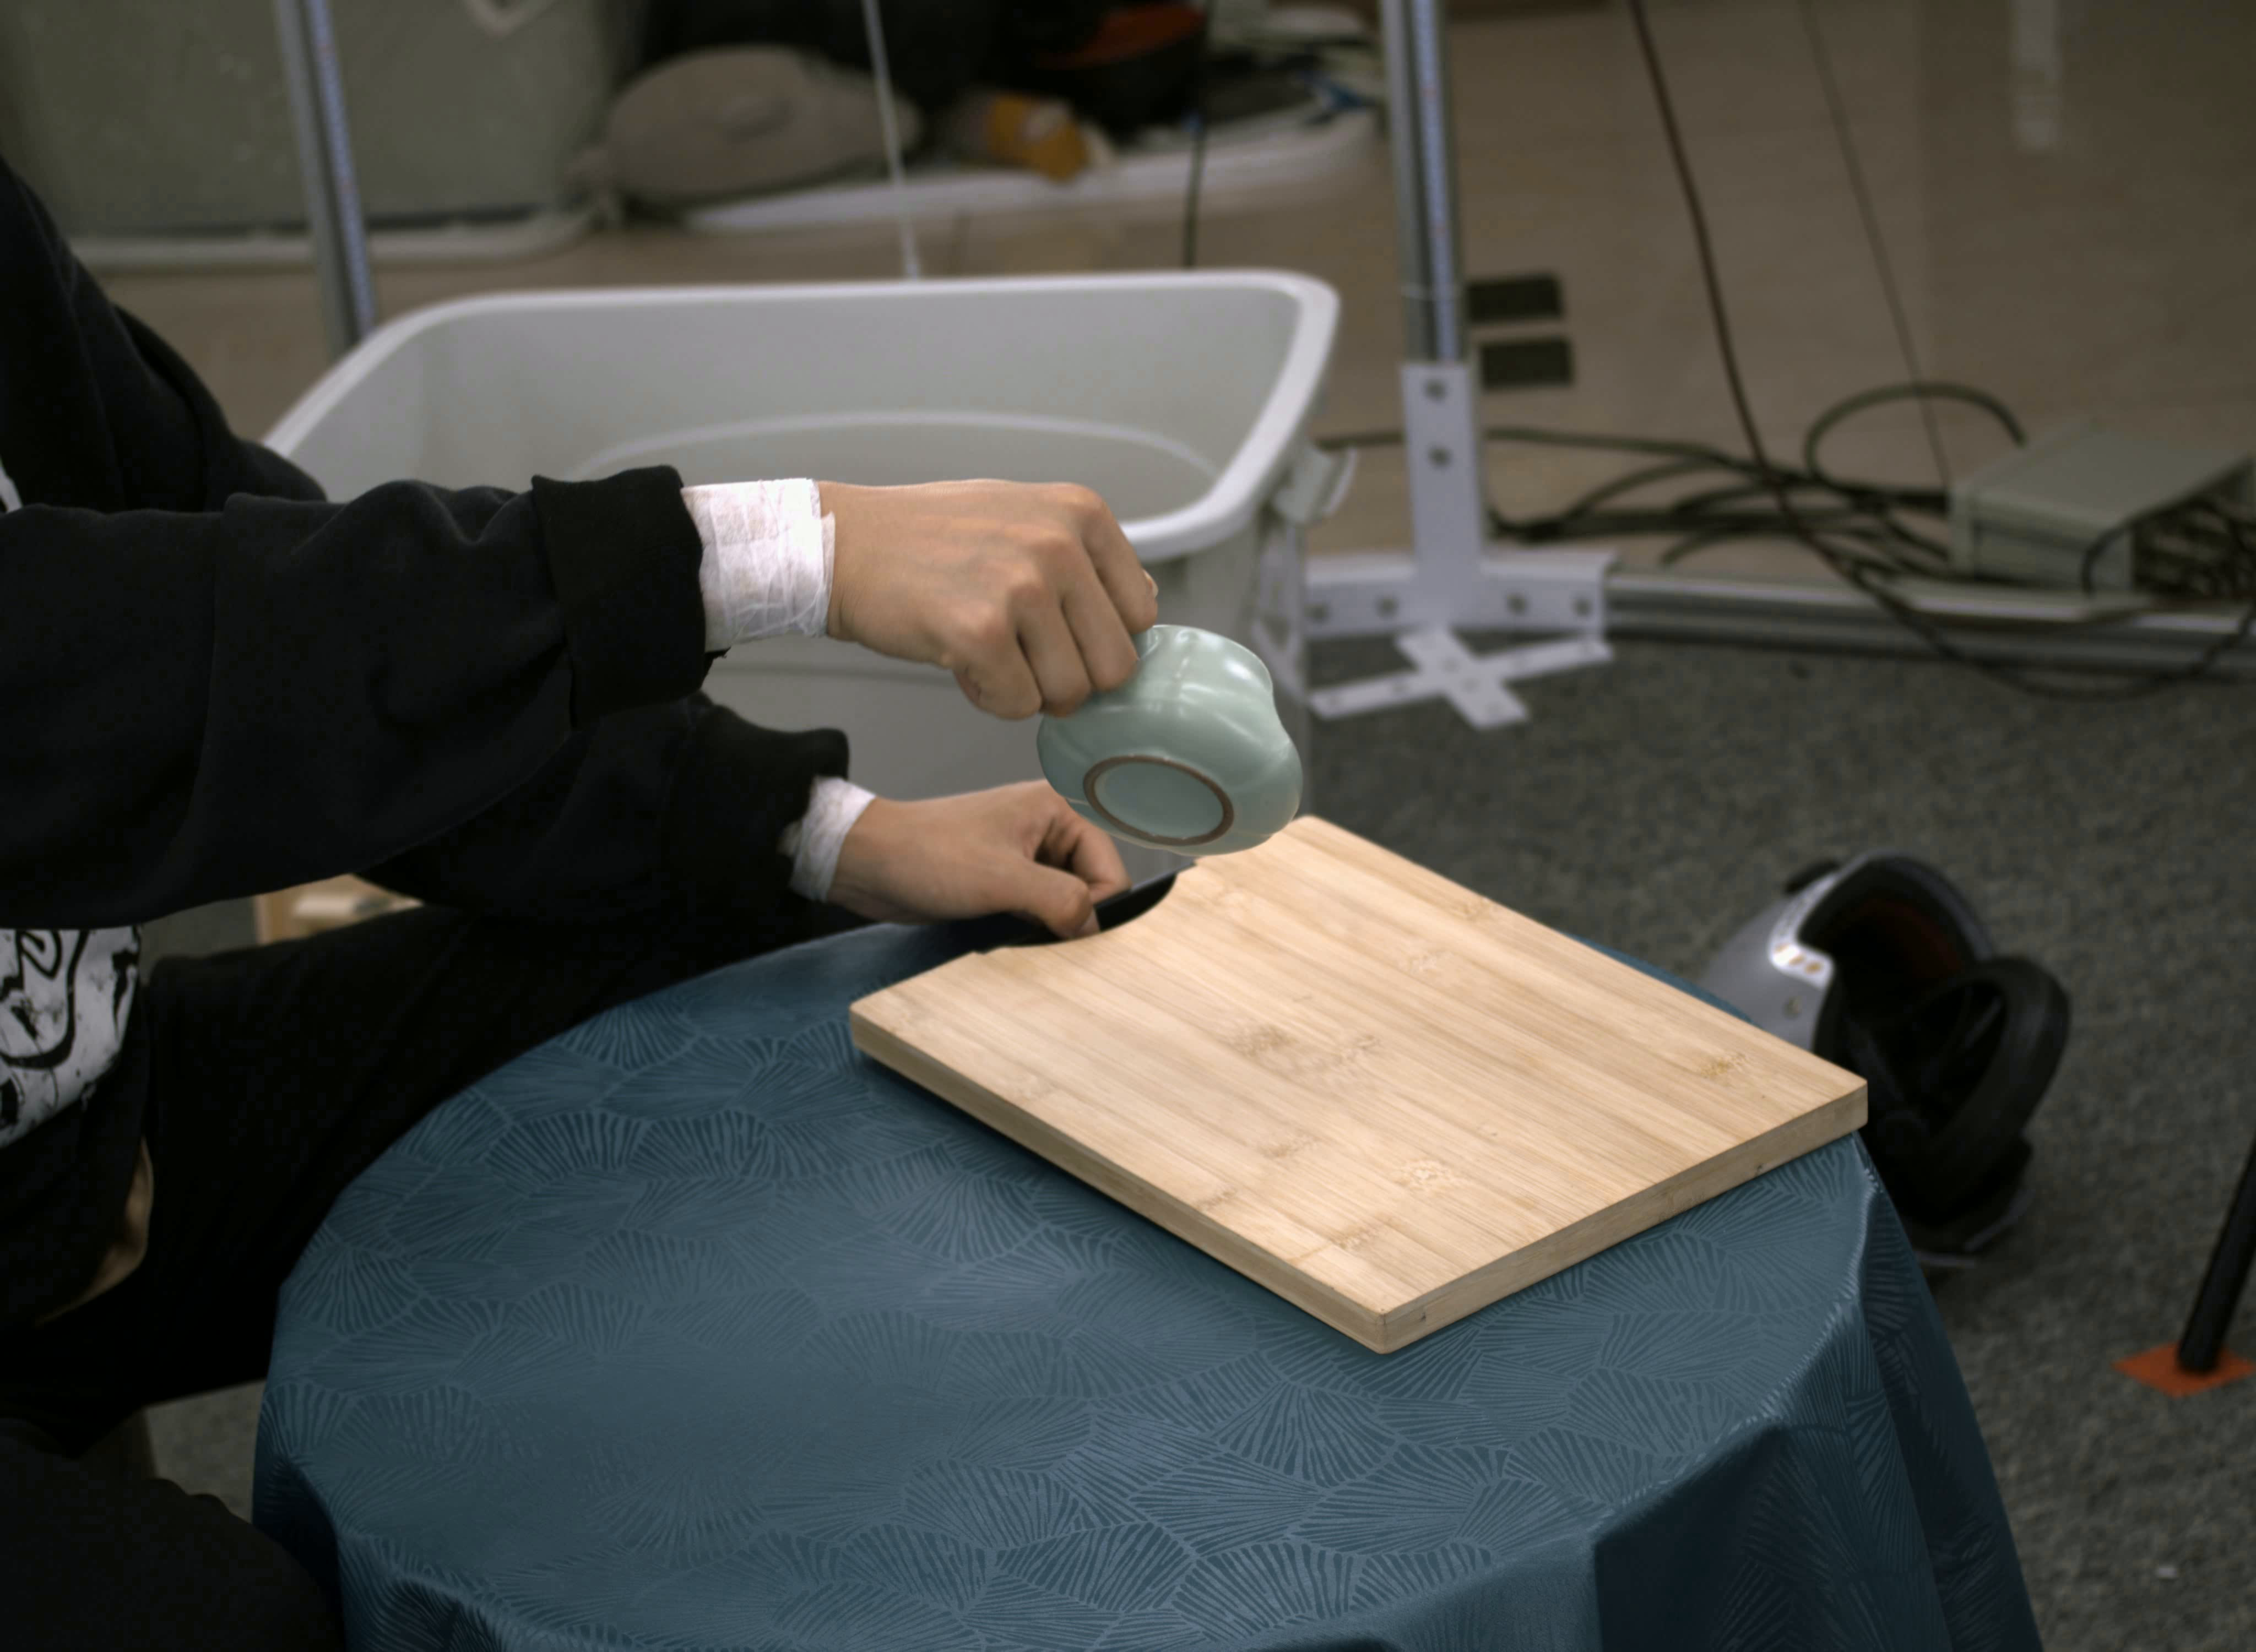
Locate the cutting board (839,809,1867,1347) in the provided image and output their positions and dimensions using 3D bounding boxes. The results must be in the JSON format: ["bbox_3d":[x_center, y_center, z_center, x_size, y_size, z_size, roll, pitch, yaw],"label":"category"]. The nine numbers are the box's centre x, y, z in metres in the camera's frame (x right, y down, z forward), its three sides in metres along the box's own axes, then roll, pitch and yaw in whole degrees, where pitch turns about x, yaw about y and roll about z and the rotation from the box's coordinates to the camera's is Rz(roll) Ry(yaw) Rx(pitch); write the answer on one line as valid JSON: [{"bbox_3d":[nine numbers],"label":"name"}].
[{"bbox_3d":[0.081,0.091,2.205,0.249,0.024,0.345,-23,31,-32],"label":"cutting board"}]

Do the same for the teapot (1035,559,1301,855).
[{"bbox_3d":[0.015,-0.036,2.014,0.096,0.139,0.060,-4,51,31],"label":"teapot"}]
